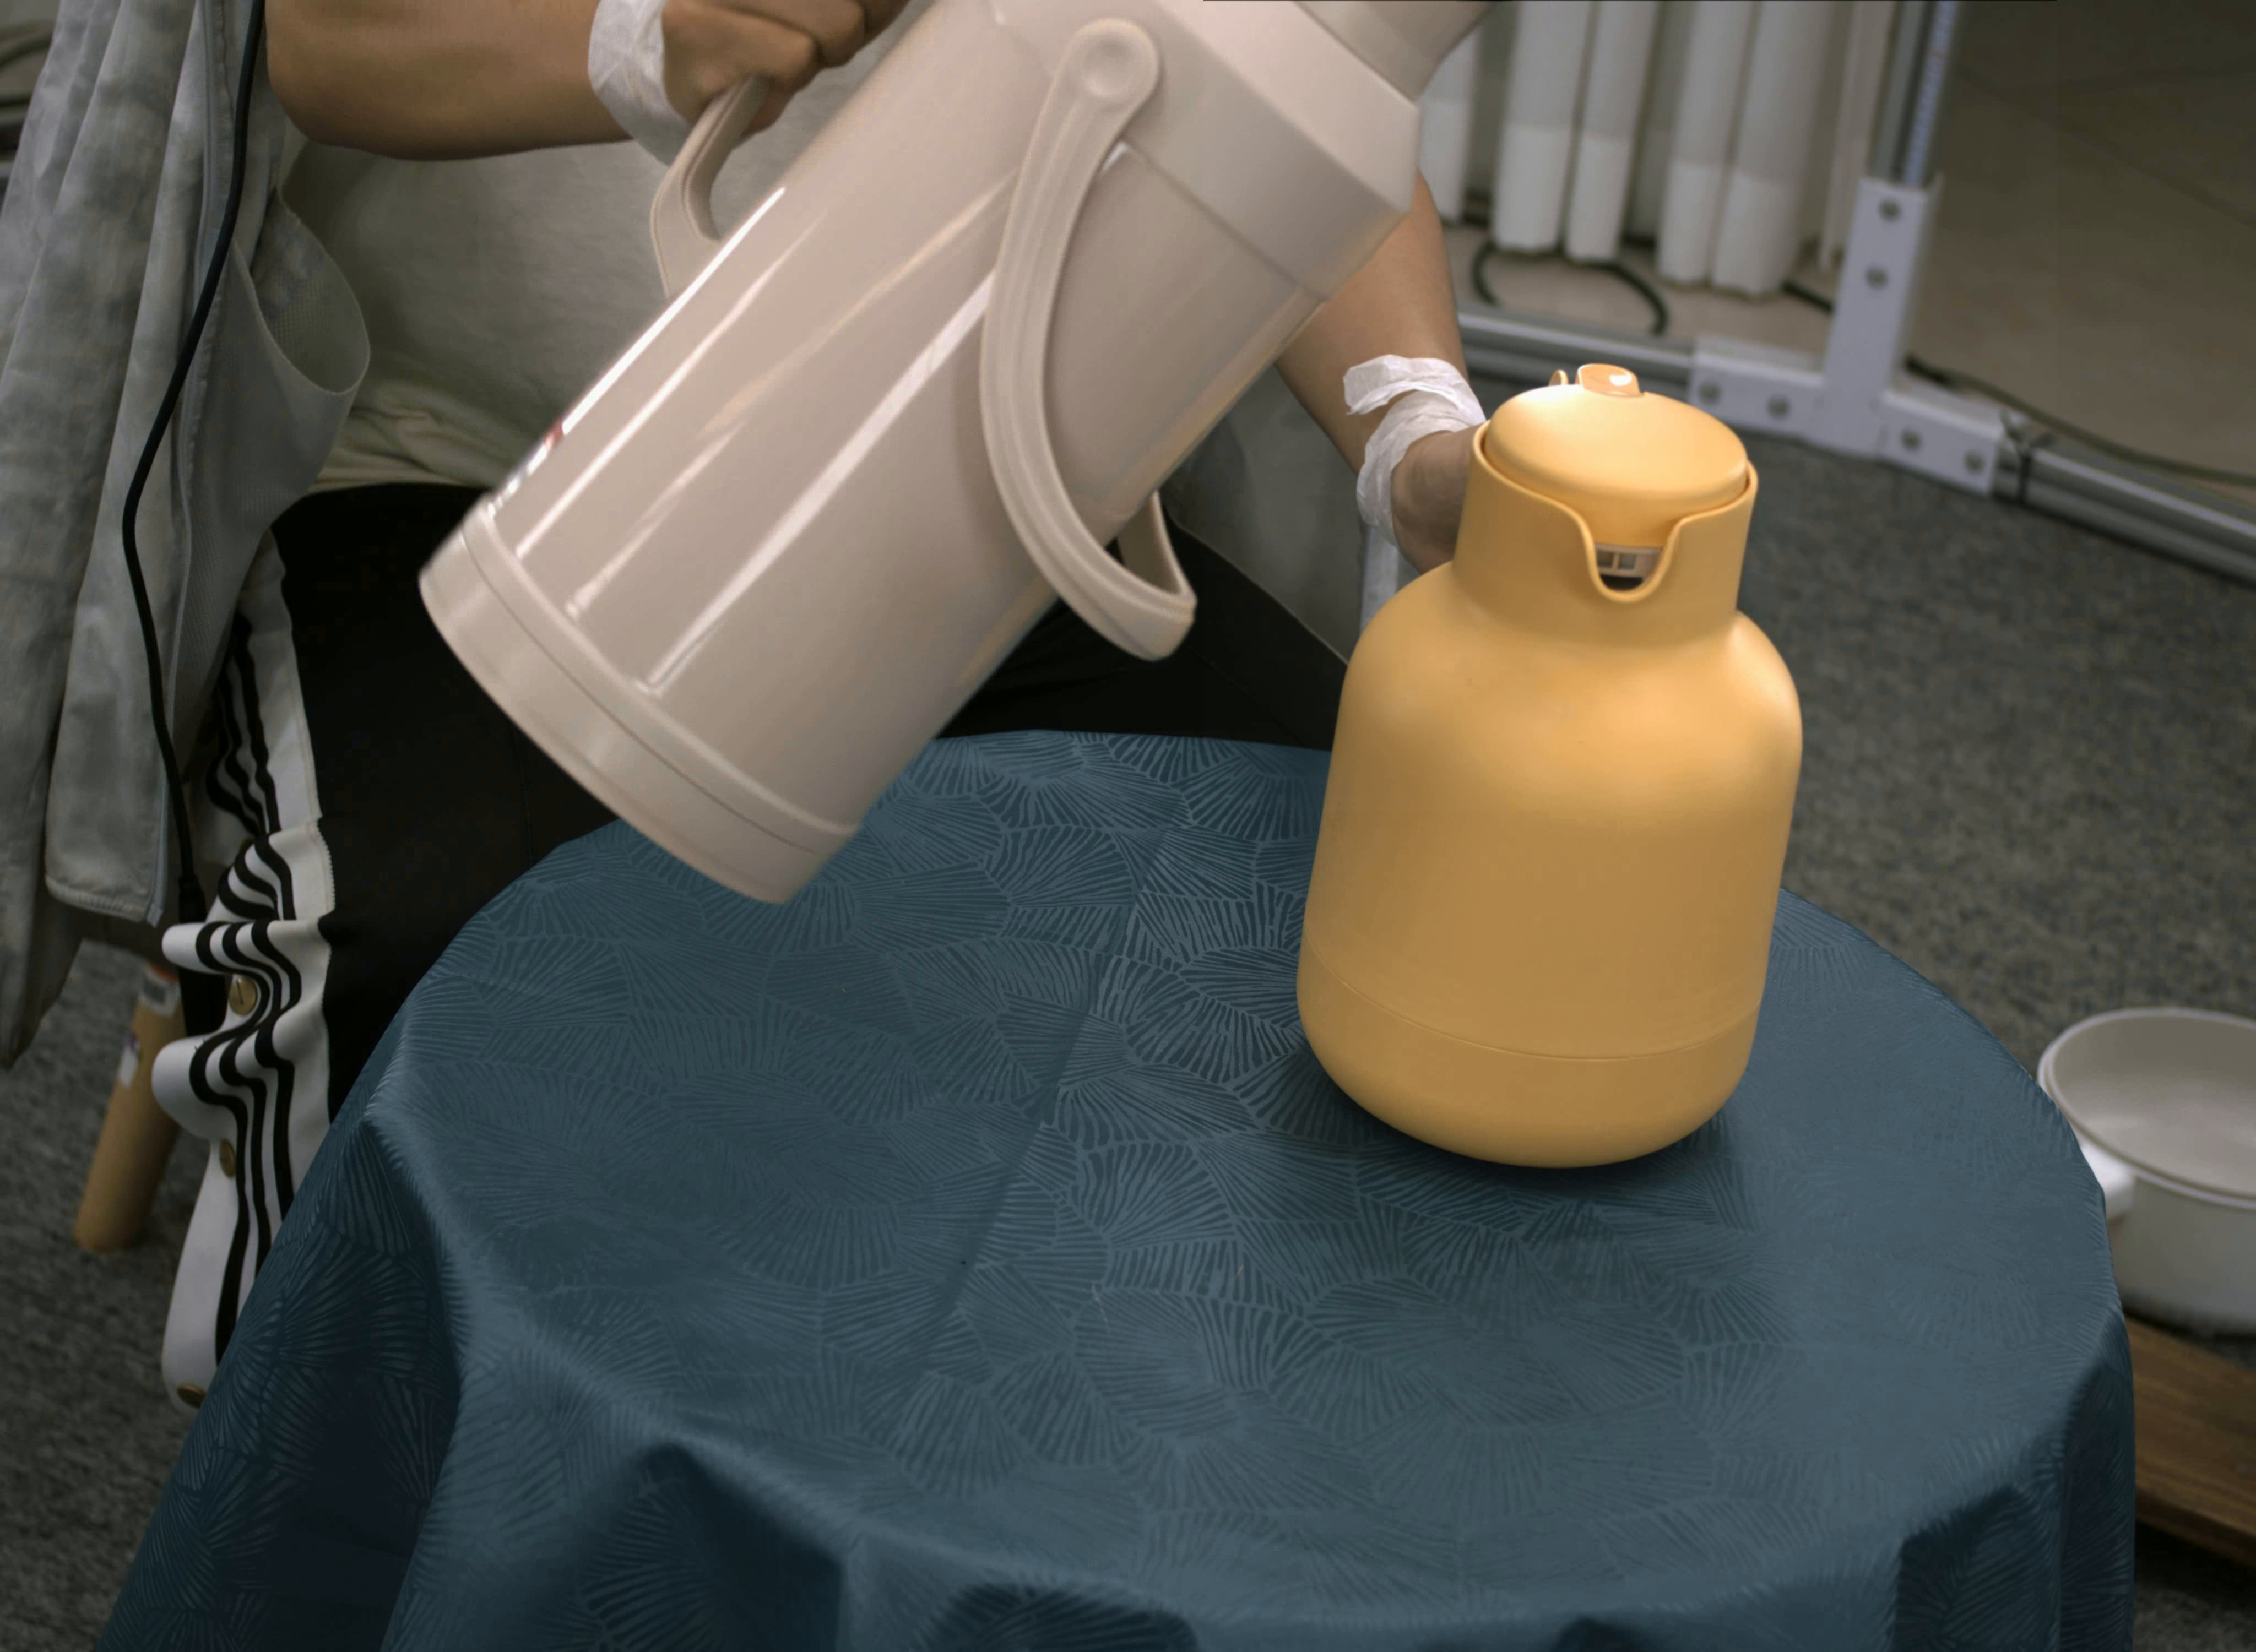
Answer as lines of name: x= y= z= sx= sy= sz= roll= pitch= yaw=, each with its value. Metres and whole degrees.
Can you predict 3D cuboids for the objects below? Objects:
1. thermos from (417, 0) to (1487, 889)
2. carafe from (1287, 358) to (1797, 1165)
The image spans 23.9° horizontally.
thermos: x=-0.046 y=-0.186 z=1.678 sx=0.208 sy=0.406 sz=0.175 roll=45 pitch=10 yaw=11
carafe: x=0.151 y=-0.031 z=1.856 sx=0.163 sy=0.259 sz=0.203 roll=9 pitch=28 yaw=-1
